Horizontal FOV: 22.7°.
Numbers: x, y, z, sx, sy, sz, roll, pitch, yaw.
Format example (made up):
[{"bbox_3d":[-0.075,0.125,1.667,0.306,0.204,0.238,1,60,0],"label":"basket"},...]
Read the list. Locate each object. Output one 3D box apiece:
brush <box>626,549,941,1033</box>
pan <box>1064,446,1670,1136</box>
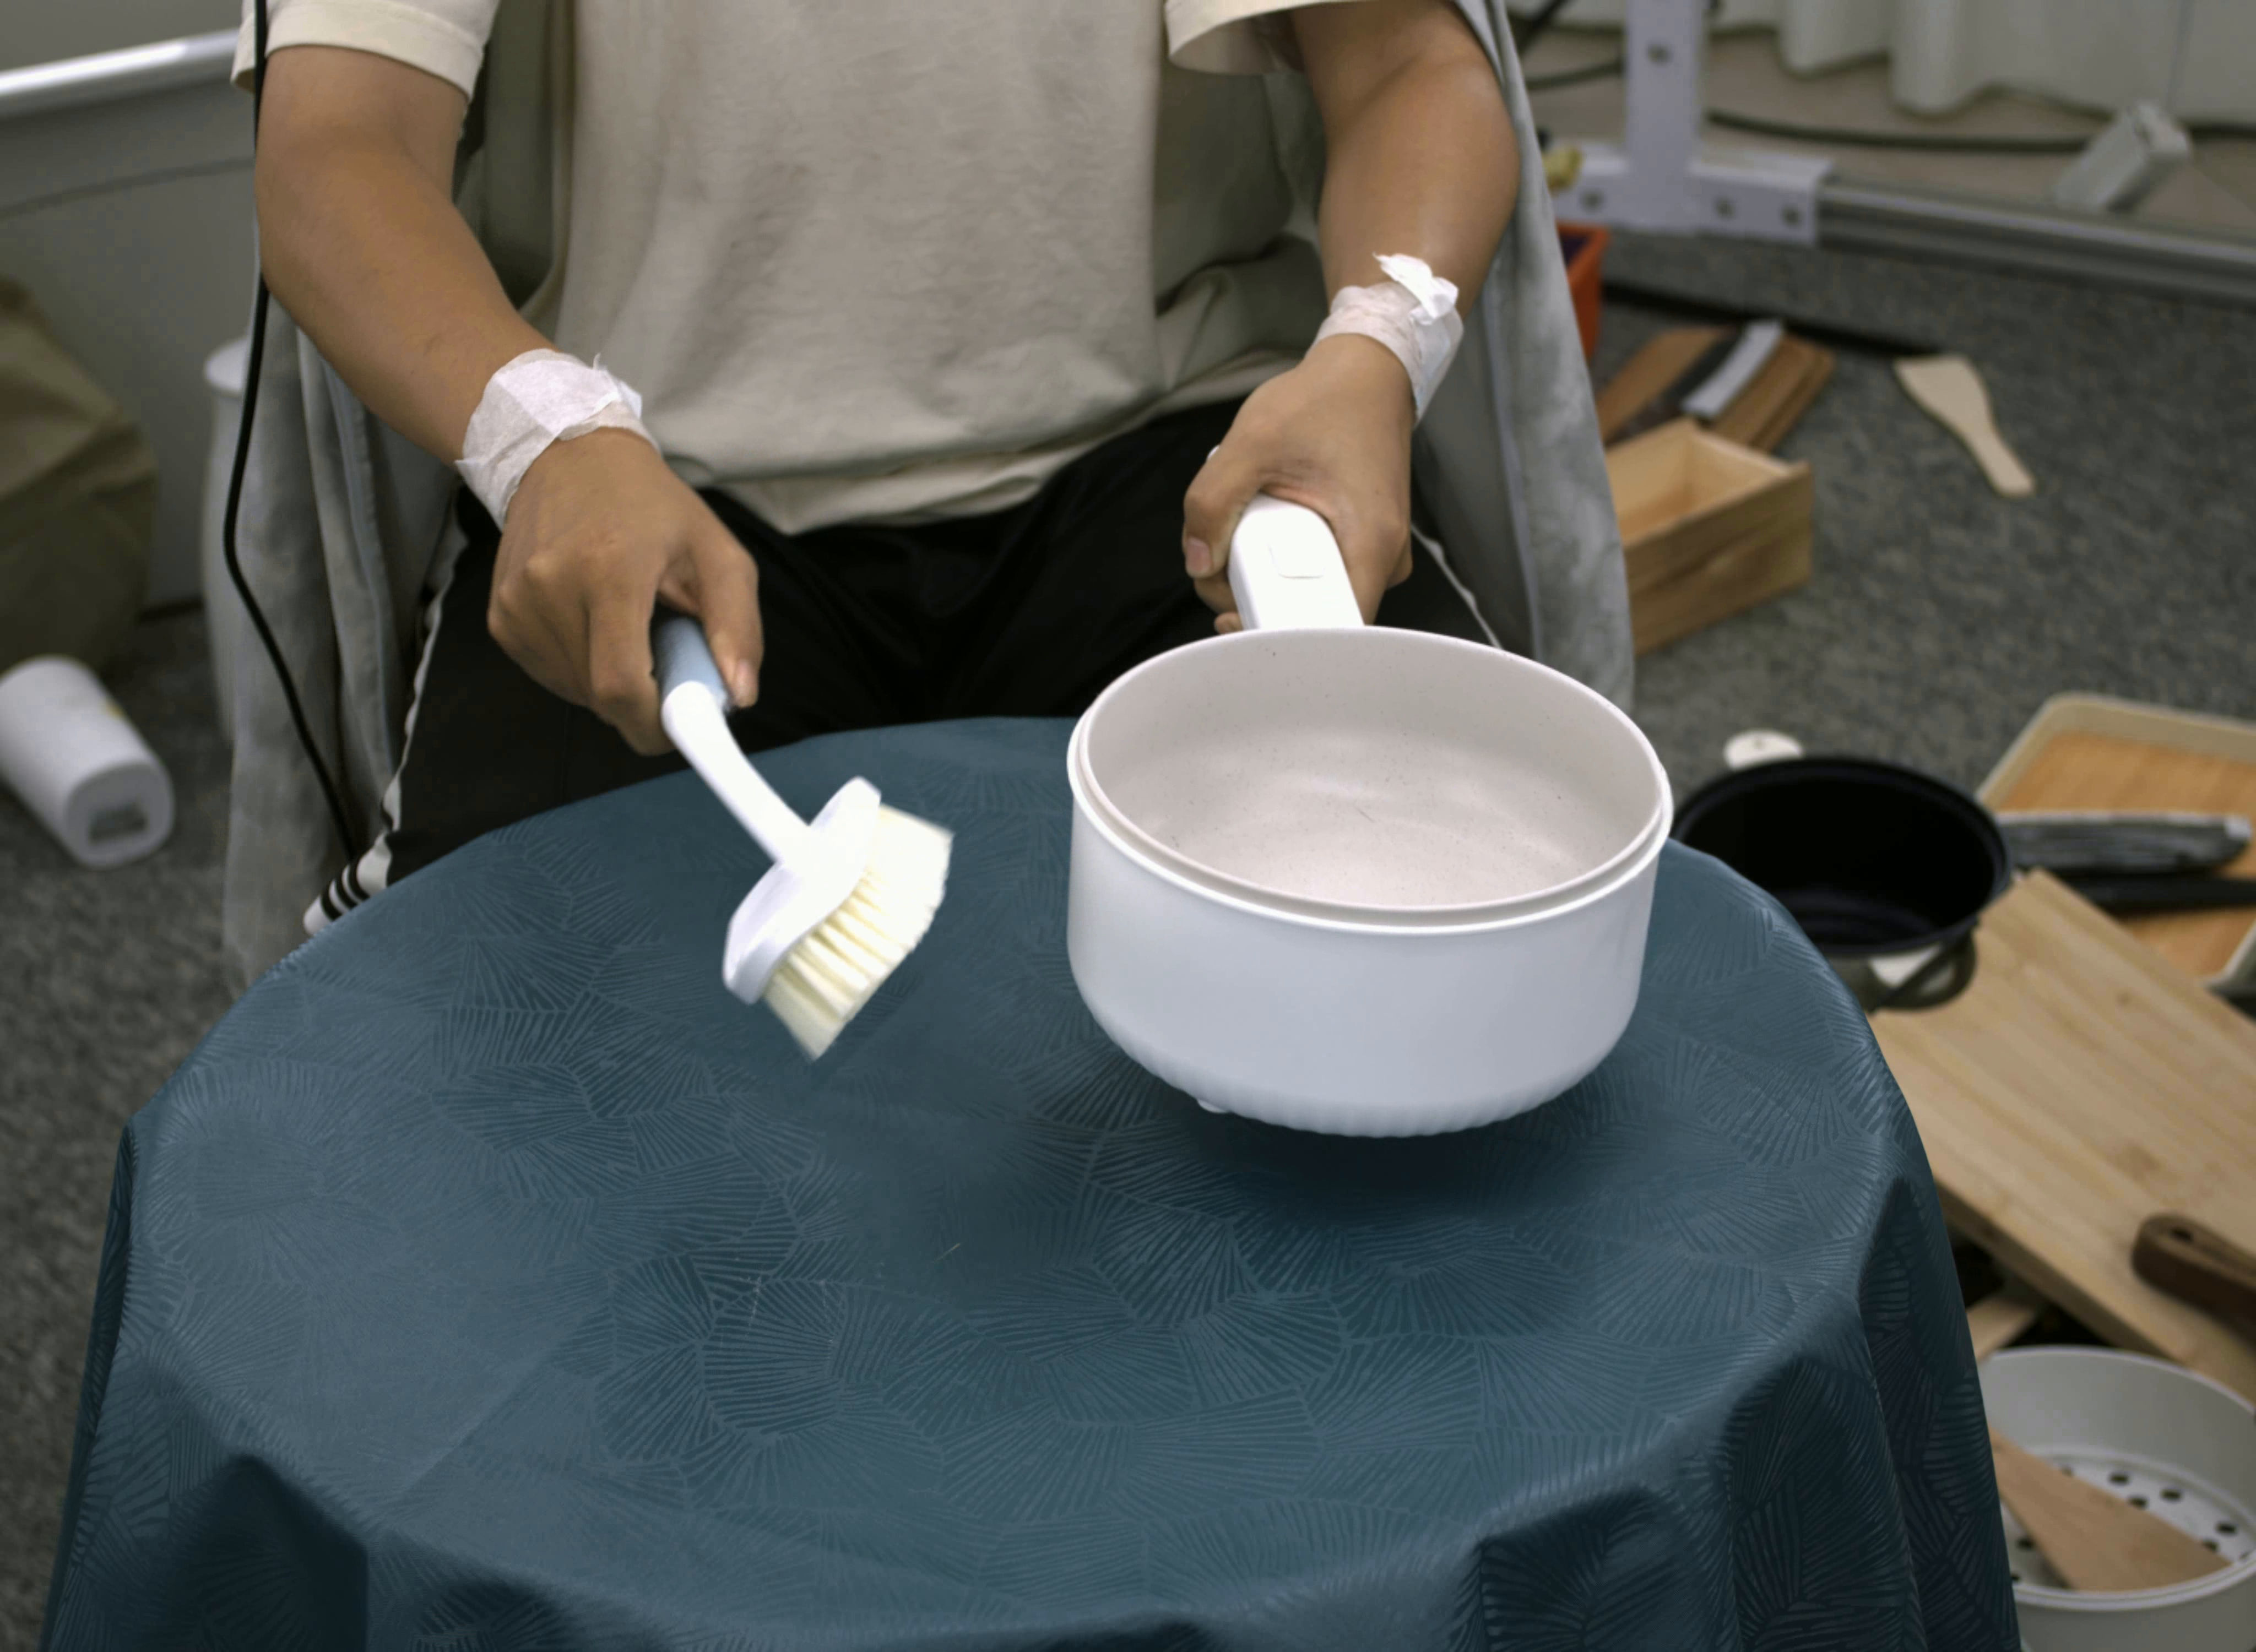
[{"bbox_3d":[-0.111,-0.014,1.897,0.083,0.084,0.329,-15,24,-4],"label":"brush"},{"bbox_3d":[0.066,-0.015,1.946,0.201,0.101,0.359,0,28,-8],"label":"pan"}]
